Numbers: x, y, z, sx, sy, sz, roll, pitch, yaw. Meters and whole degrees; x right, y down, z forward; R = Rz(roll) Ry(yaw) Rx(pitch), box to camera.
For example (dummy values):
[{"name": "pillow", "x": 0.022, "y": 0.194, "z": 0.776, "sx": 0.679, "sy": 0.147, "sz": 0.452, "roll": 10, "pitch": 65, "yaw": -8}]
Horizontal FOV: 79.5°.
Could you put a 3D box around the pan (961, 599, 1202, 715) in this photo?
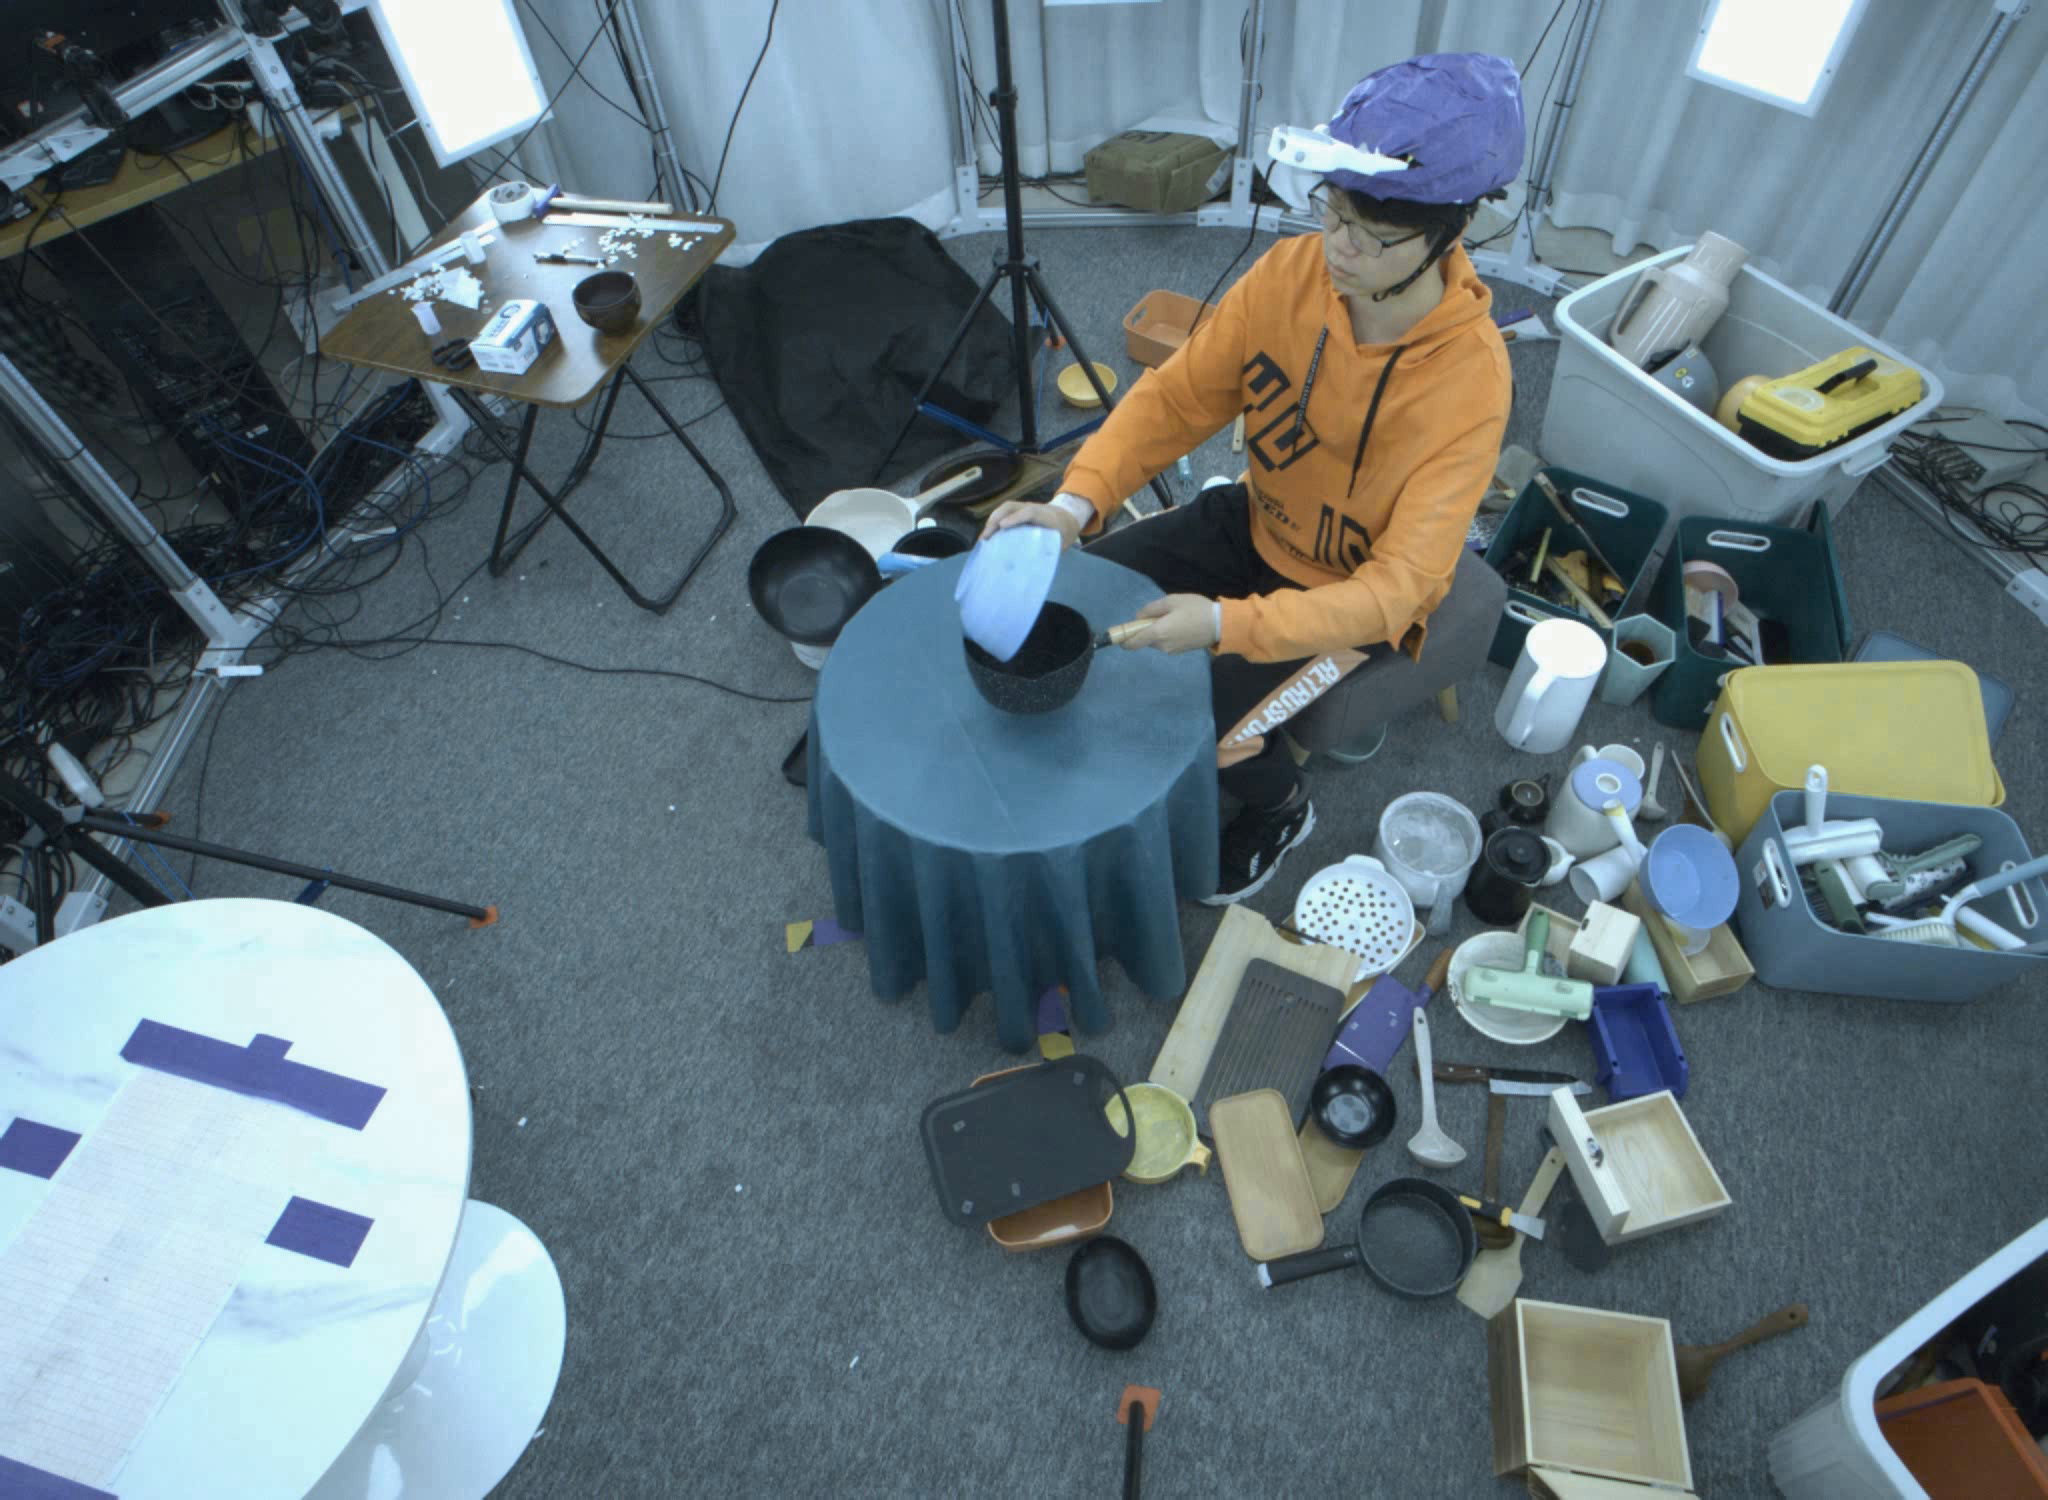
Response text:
[{"name": "pan", "x": 0.083, "y": -0.147, "z": 1.758, "sx": 0.344, "sy": 0.109, "sz": 0.204, "roll": -8, "pitch": 42, "yaw": -4}]

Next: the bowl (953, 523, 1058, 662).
[{"name": "bowl", "x": -0.036, "y": -0.229, "z": 1.677, "sx": 0.096, "sy": 0.195, "sz": 0.195, "roll": 21, "pitch": 55, "yaw": -12}]
